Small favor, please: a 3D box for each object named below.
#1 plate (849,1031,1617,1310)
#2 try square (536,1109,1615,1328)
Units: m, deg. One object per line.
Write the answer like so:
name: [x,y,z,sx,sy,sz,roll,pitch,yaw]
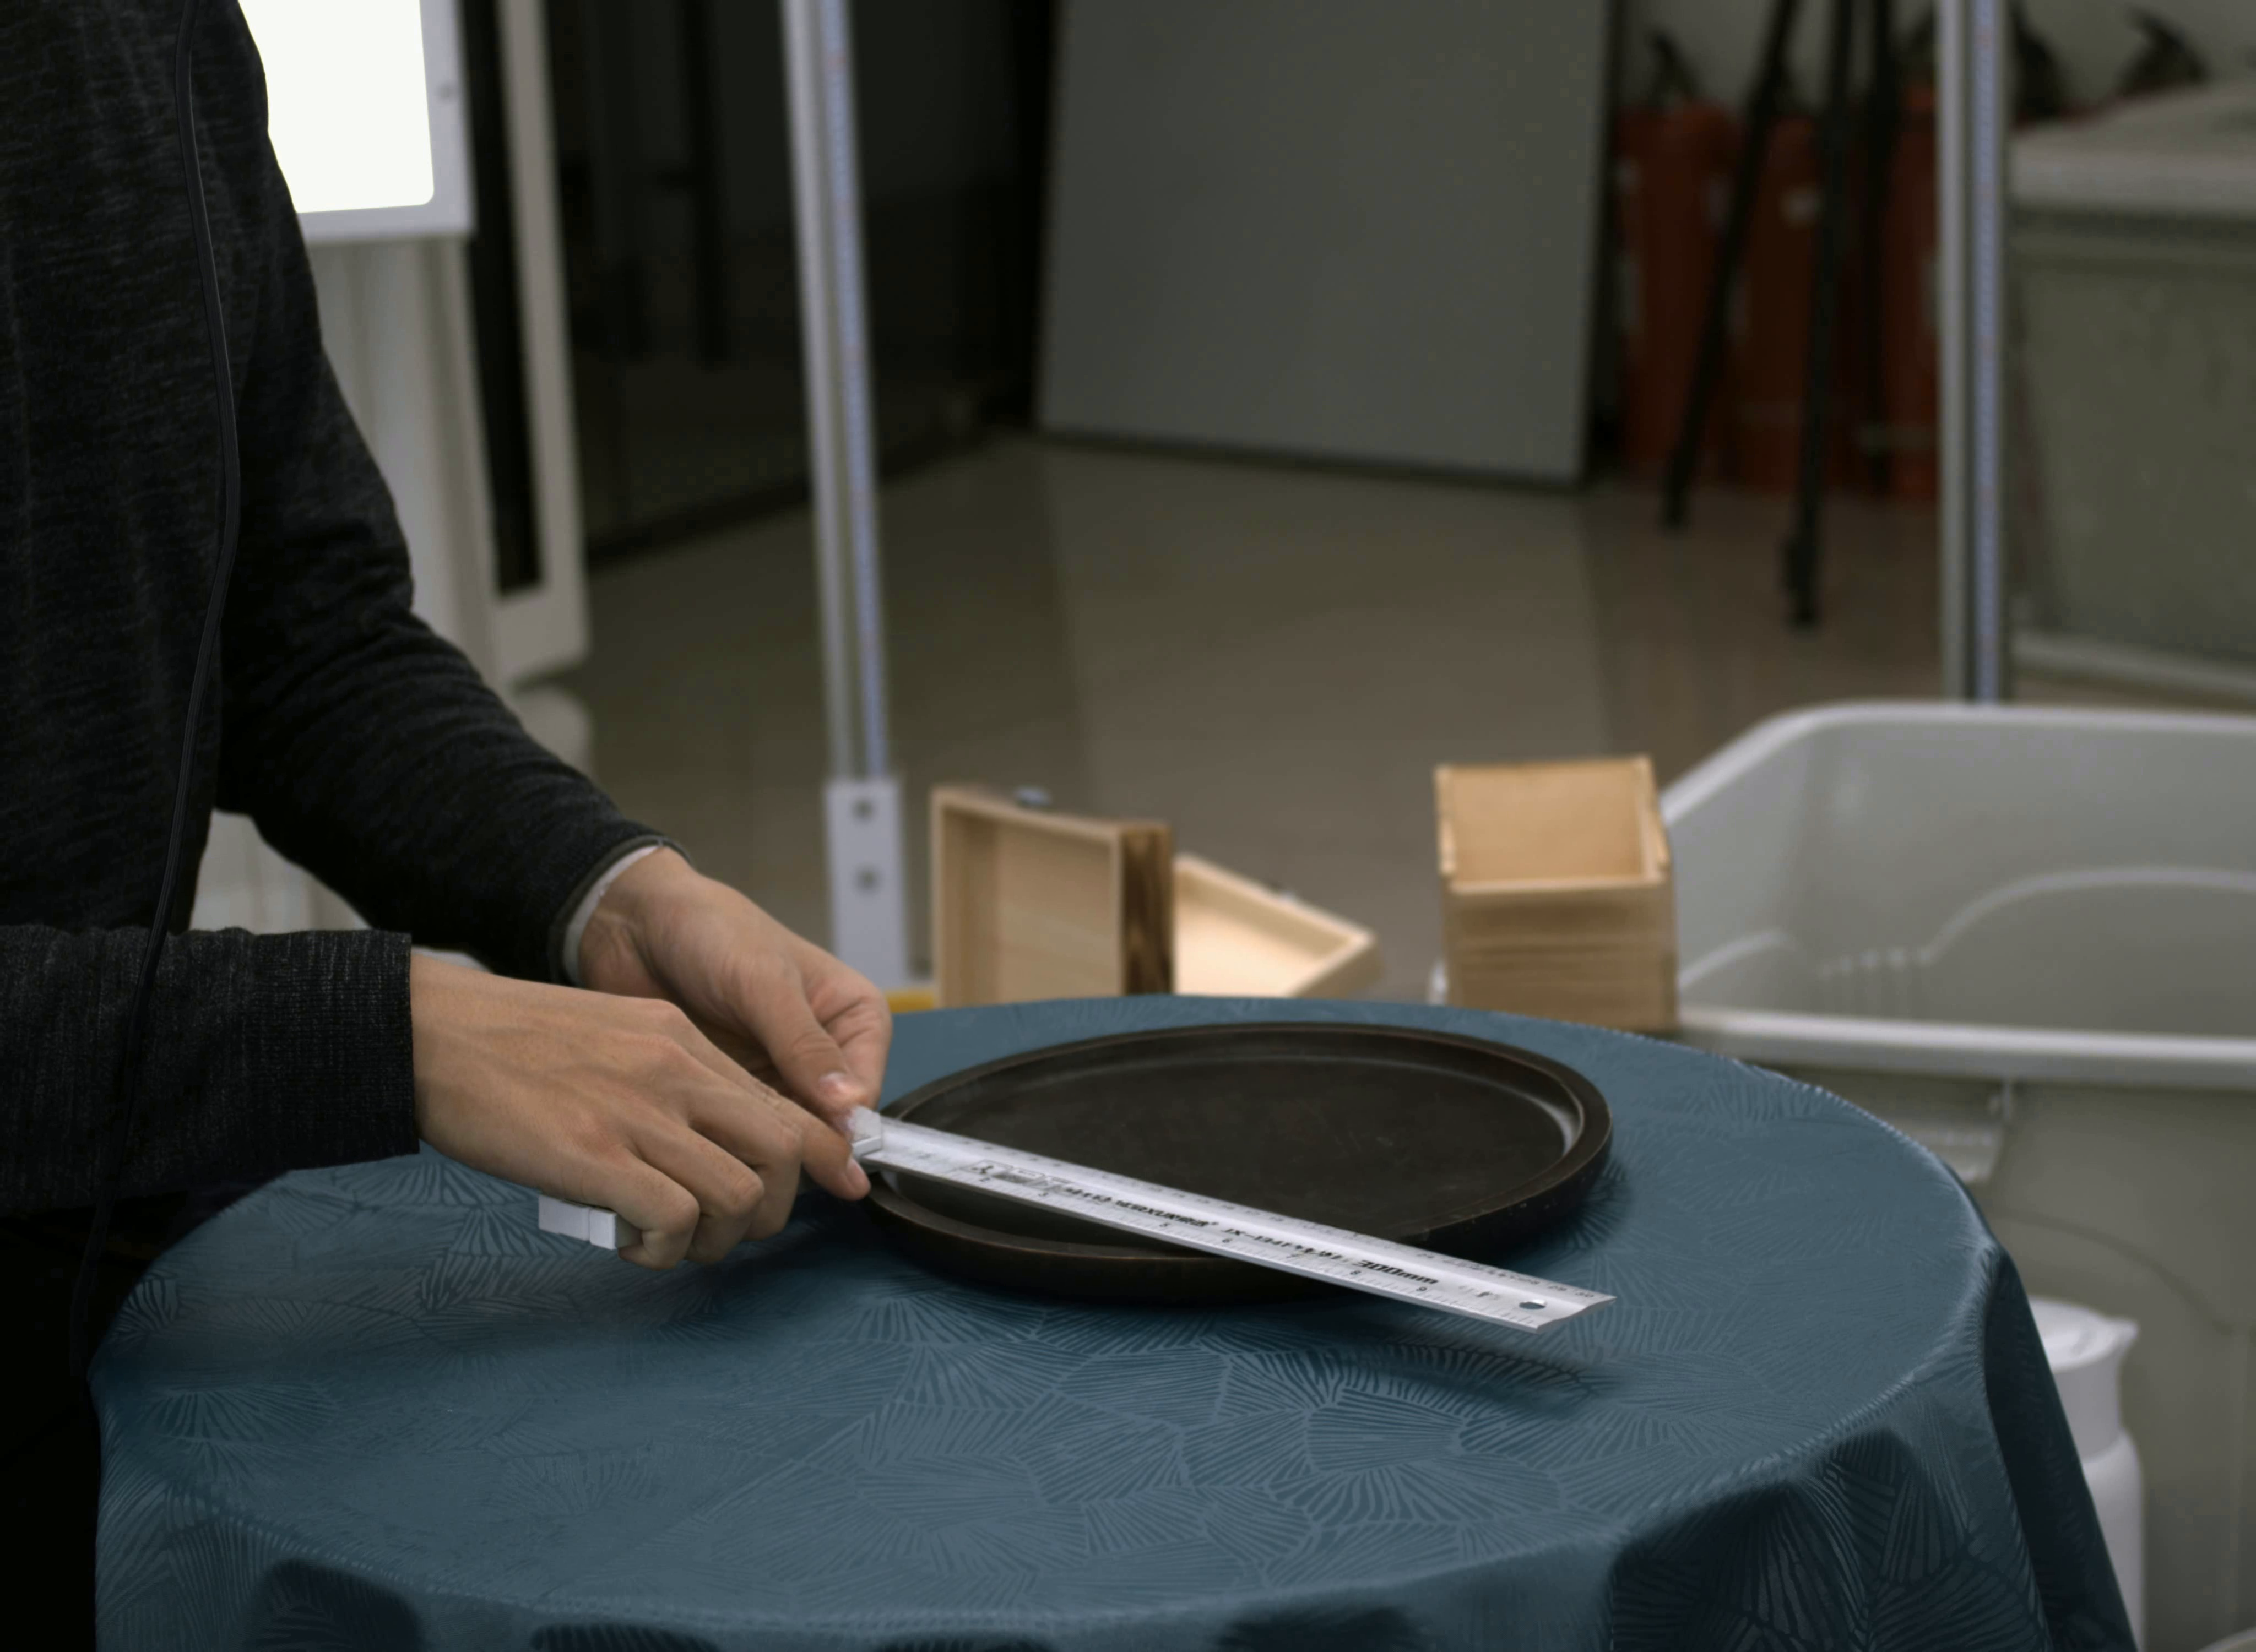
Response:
plate: [0.034,0.109,1.757,0.251,0.029,0.255,-4,15,0]
try square: [-0.021,0.129,1.628,0.315,0.016,0.149,10,17,42]
